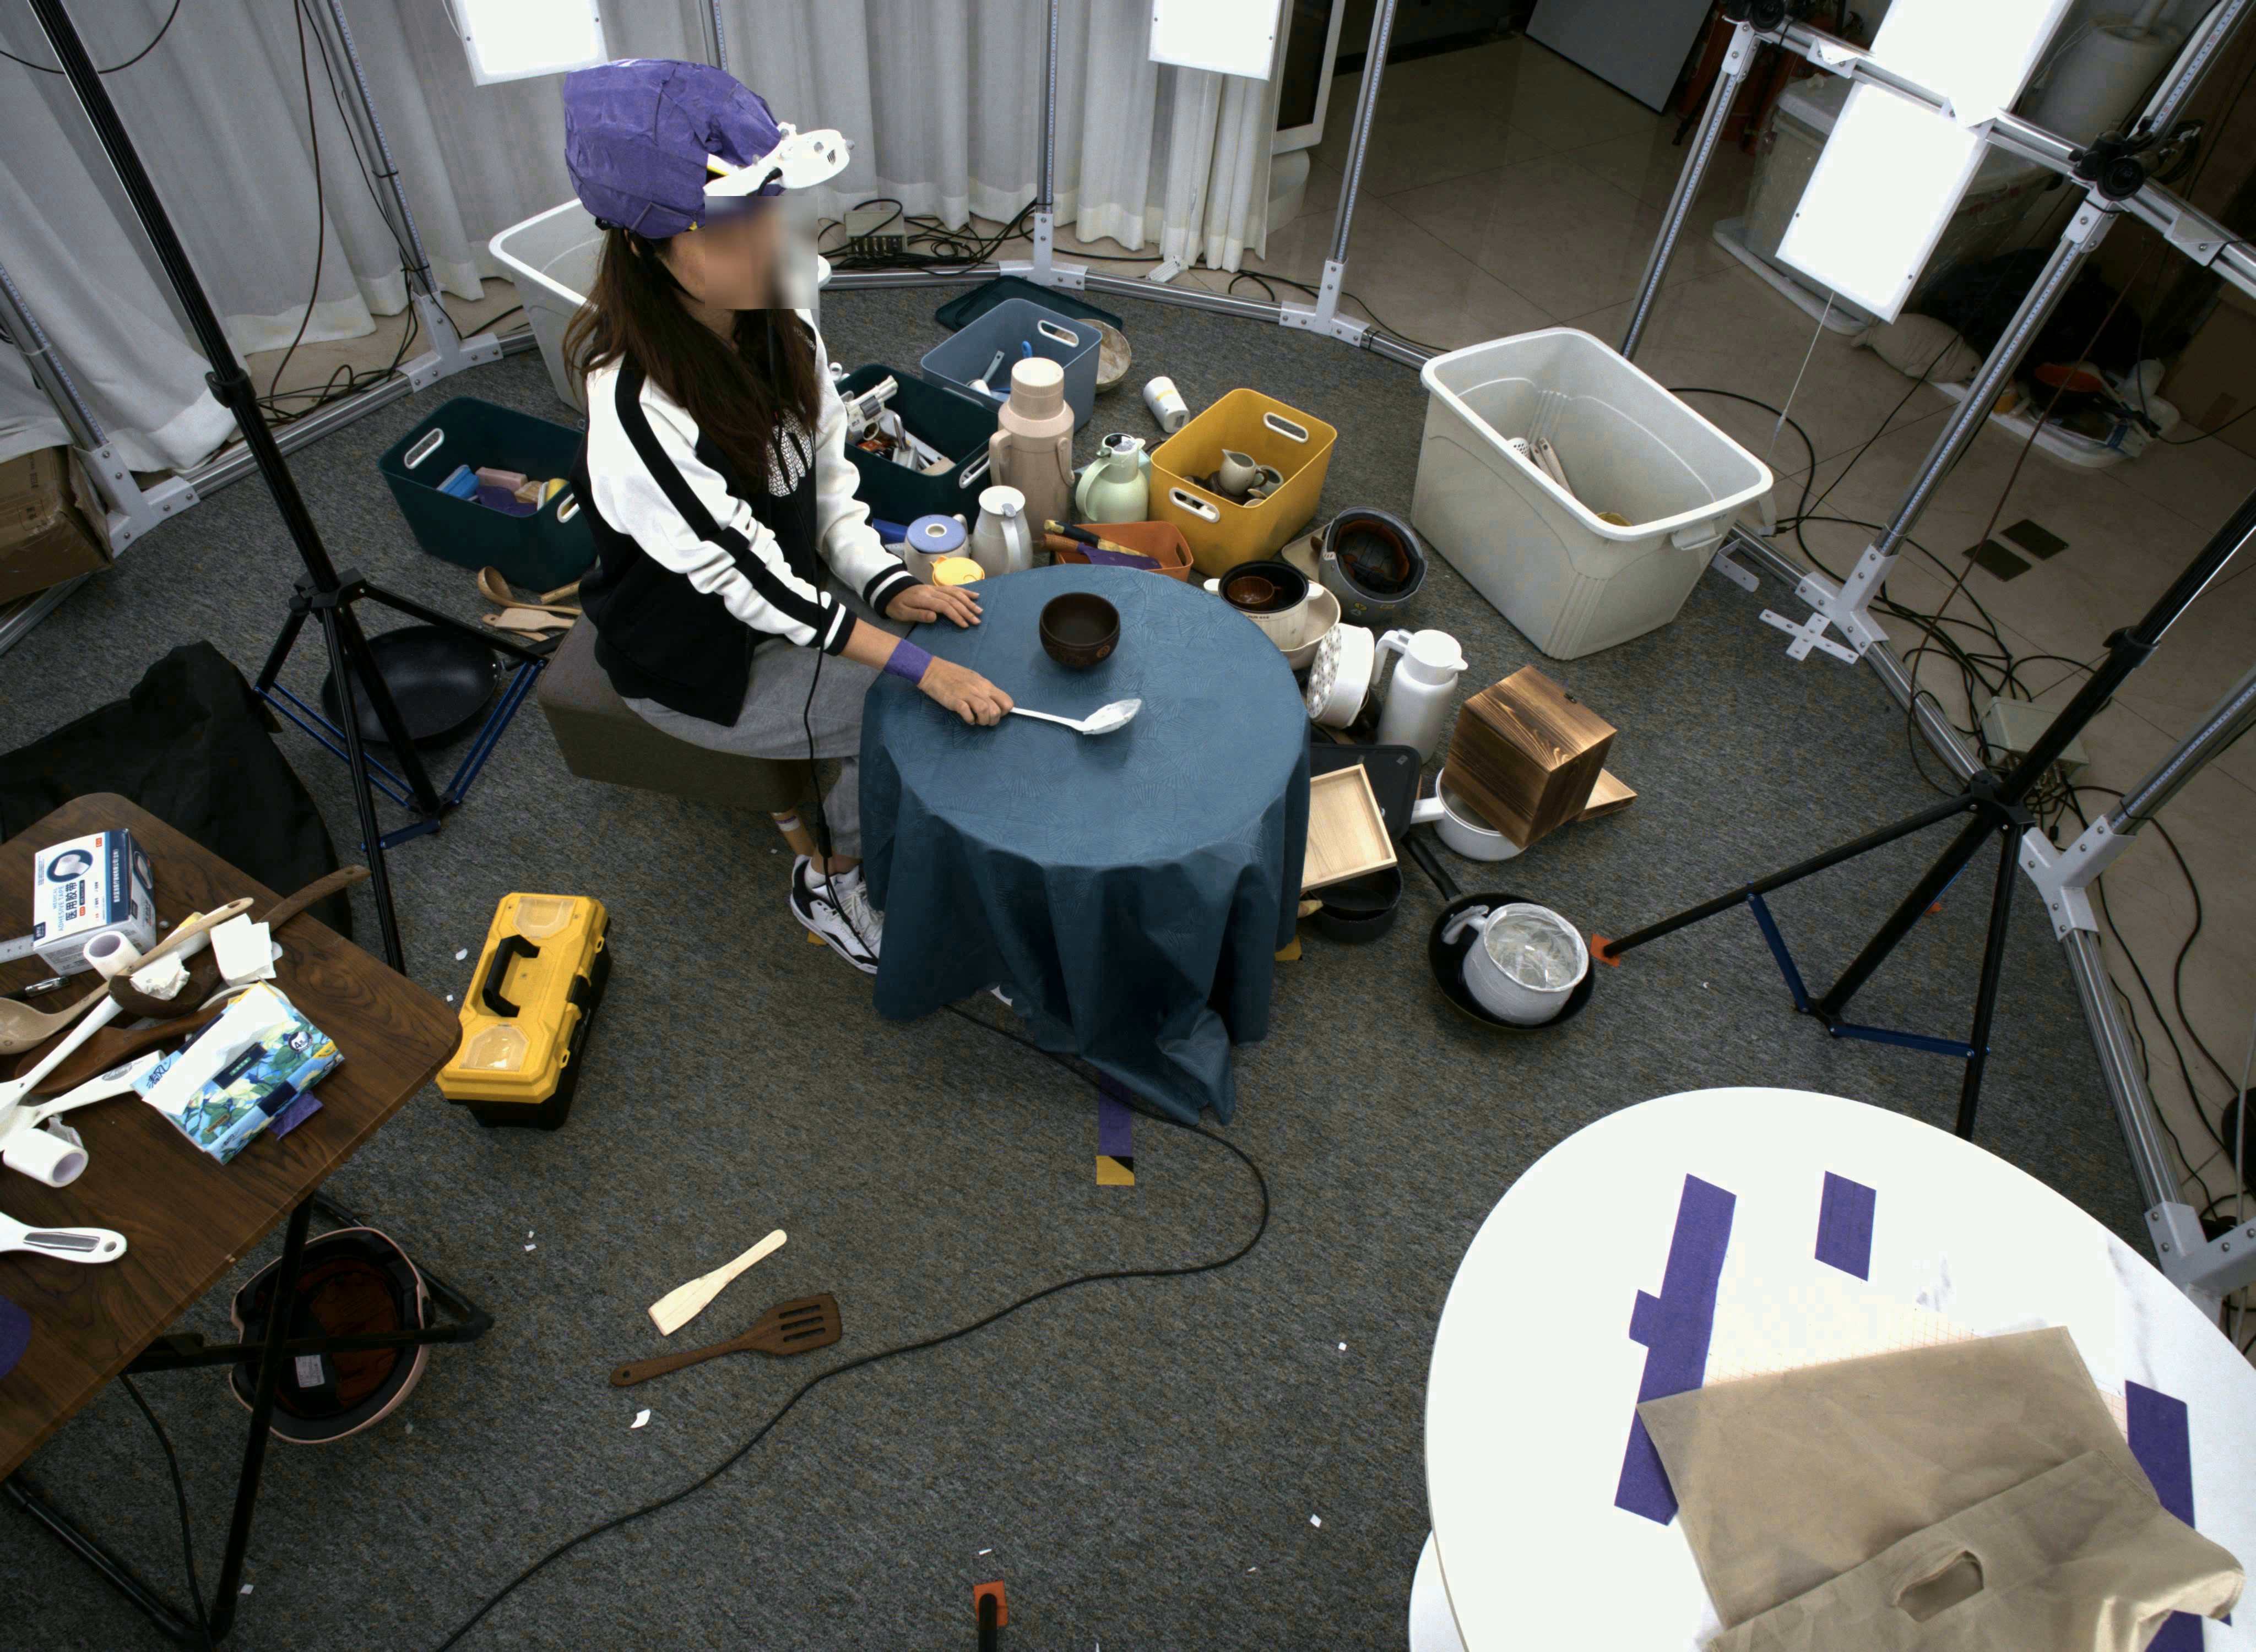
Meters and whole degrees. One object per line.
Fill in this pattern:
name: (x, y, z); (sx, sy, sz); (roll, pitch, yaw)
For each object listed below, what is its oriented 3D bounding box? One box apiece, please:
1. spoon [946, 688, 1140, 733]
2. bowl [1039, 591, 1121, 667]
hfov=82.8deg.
spoon: (-0.120, -0.181, 1.785); (0.278, 0.058, 0.102); (16, 25, 11)
bowl: (-0.070, -0.276, 1.857); (0.118, 0.068, 0.121); (2, 49, -3)
